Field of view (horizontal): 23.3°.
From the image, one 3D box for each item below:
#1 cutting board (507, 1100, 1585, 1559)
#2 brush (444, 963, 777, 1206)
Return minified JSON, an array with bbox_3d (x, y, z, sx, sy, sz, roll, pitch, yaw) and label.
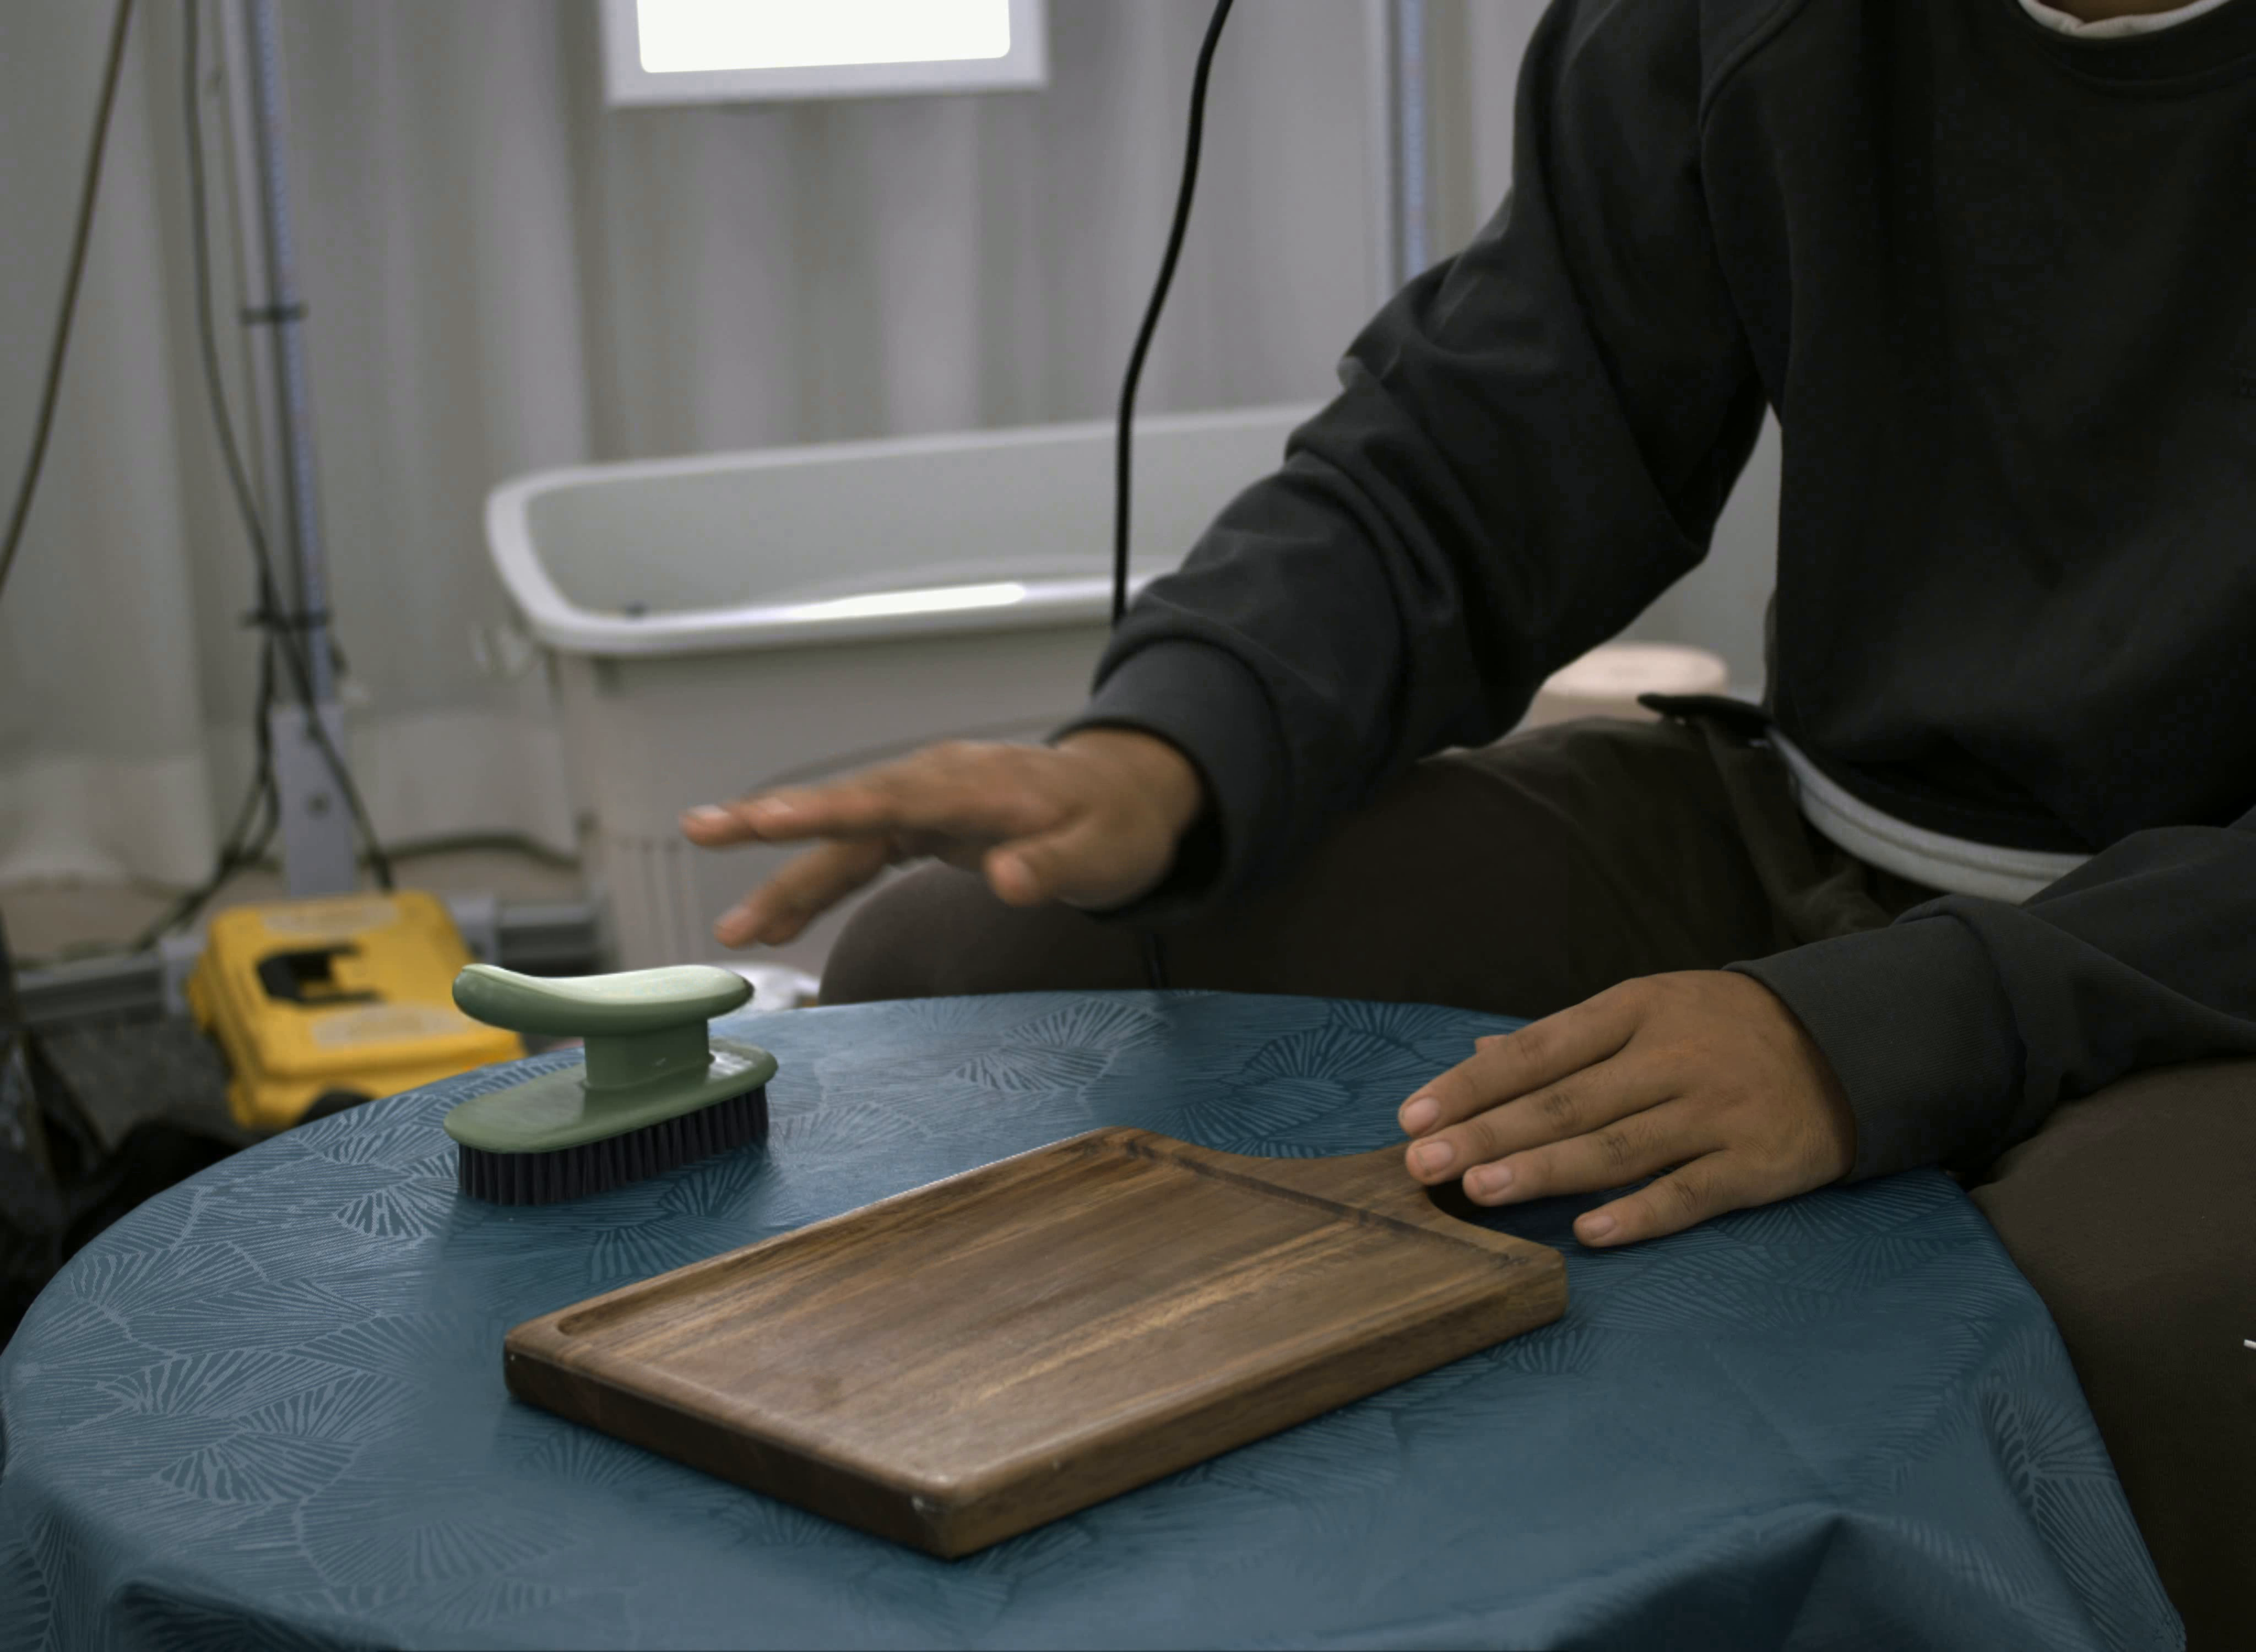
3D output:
[{"bbox_3d":[0.012,0.133,1.606,0.351,0.023,0.202,-16,20,-41],"label":"cutting board"},{"bbox_3d":[-0.168,0.083,1.766,0.060,0.076,0.122,11,6,43],"label":"brush"}]
